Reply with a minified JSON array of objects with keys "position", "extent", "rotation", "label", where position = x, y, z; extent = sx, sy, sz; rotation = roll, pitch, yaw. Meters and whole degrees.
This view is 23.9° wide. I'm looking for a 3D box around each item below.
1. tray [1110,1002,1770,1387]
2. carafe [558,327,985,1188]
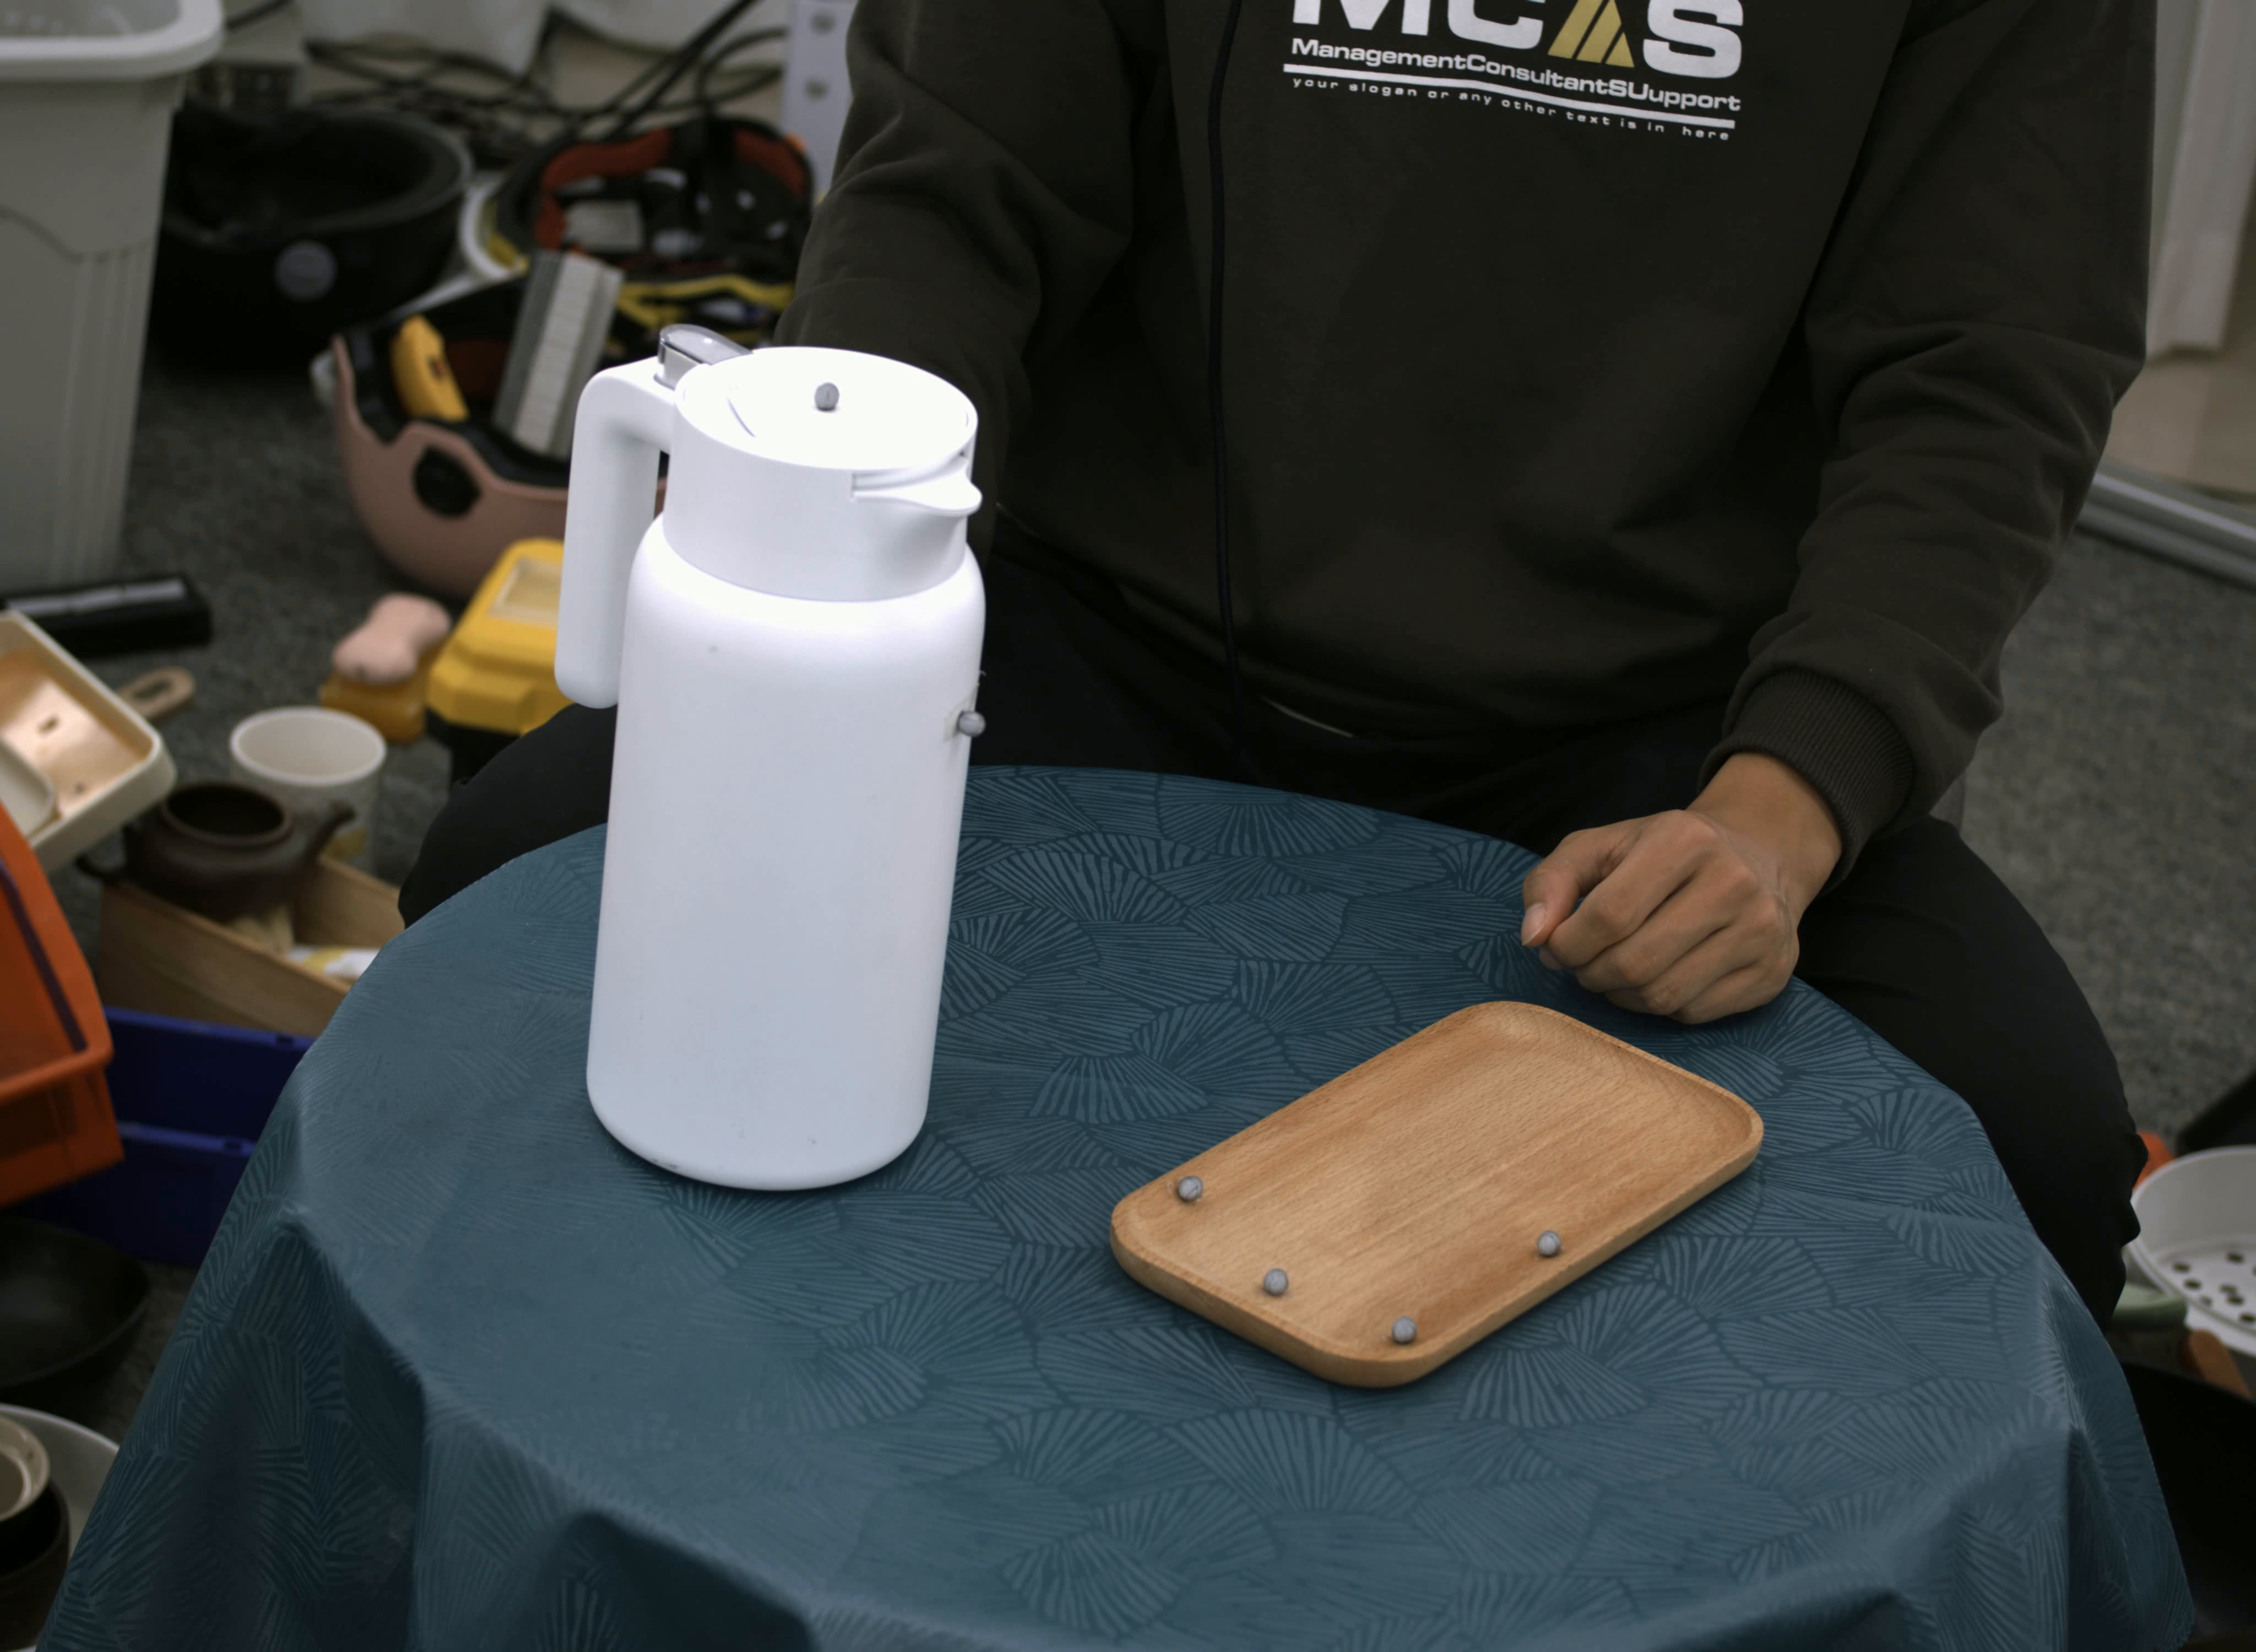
[{"position":[0.109,0.123,1.816],"extent":[0.131,0.023,0.249],"rotation":[28,32,31],"label":"tray"},{"position":[-0.126,-0.026,1.777],"extent":[0.174,0.268,0.123],"rotation":[29,35,36],"label":"carafe"}]
